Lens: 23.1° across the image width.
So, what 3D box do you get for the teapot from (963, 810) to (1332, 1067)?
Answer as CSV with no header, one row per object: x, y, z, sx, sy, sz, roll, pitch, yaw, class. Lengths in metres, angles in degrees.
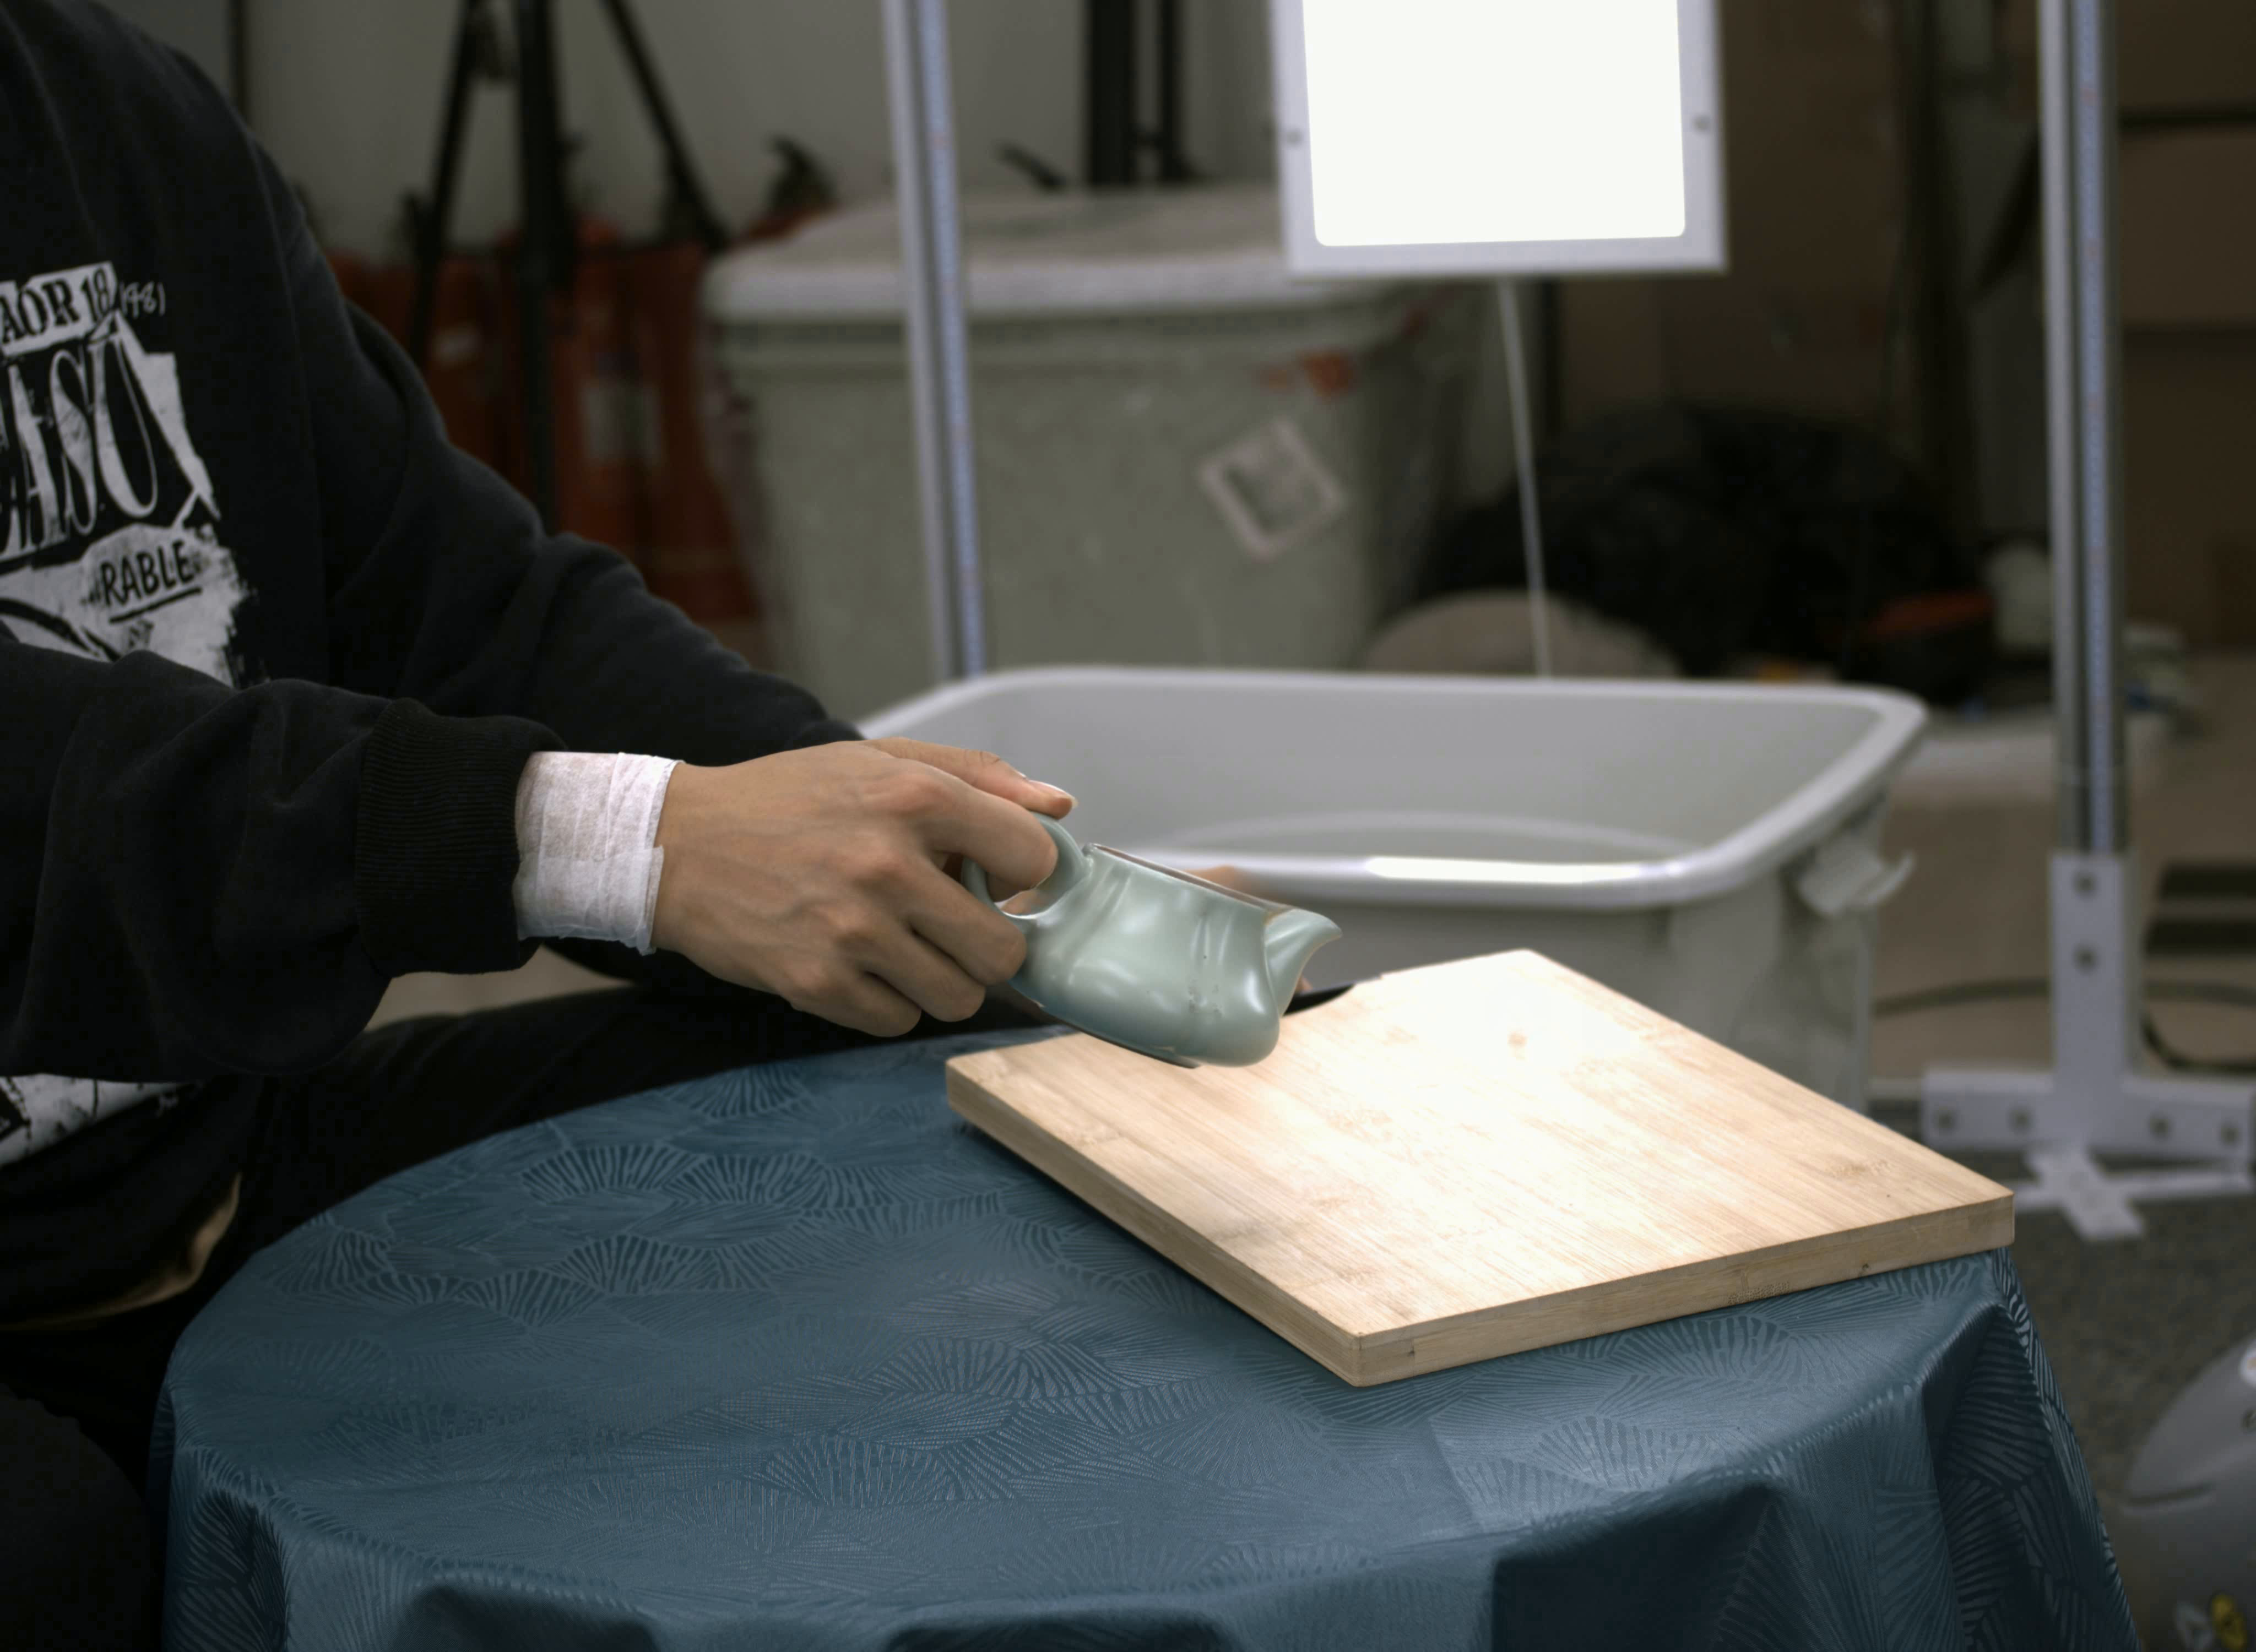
0.002,0.038,1.751,0.134,0.061,0.098,19,3,-29,teapot

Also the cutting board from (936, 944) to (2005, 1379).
0.108,0.109,1.882,0.246,0.023,0.354,-11,16,-22,cutting board
